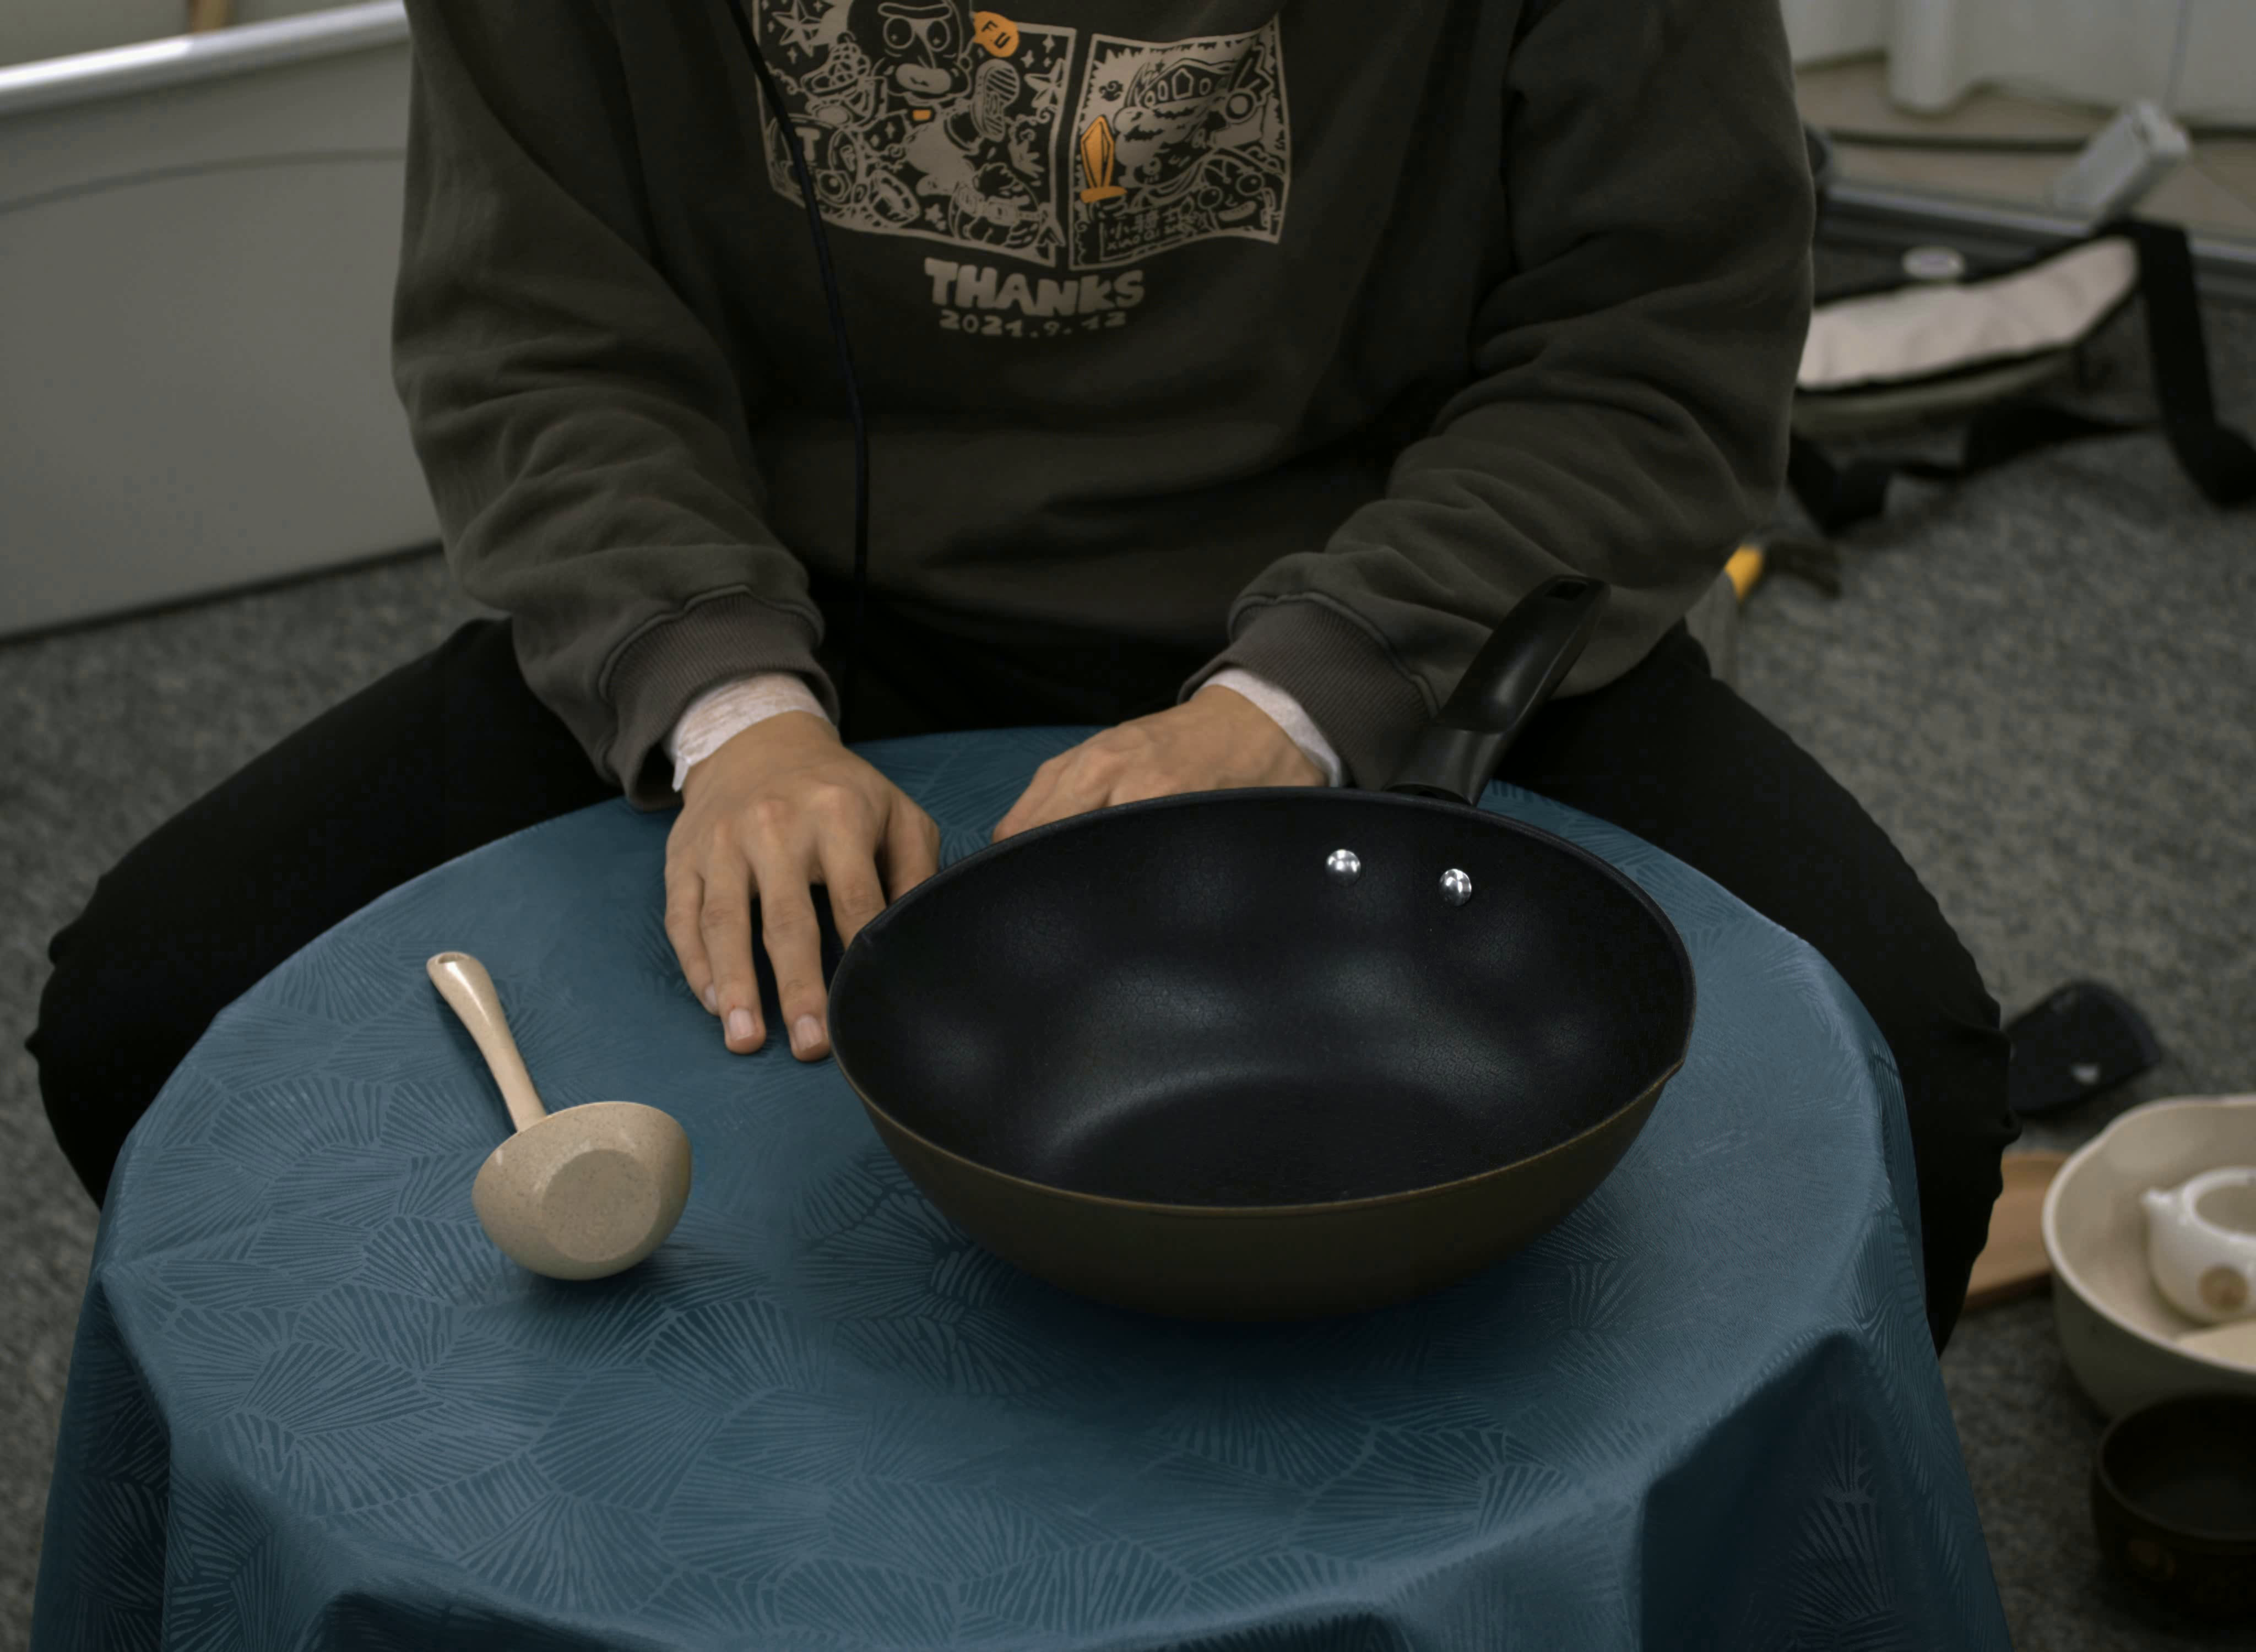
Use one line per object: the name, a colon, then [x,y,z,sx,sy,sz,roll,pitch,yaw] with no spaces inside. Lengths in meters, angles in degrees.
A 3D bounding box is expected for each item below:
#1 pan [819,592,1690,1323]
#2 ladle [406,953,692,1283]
pan: [0.078,0.045,1.910,0.286,0.086,0.471,9,29,21]
ladle: [-0.212,0.072,1.899,0.072,0.072,0.256,-17,31,-15]
